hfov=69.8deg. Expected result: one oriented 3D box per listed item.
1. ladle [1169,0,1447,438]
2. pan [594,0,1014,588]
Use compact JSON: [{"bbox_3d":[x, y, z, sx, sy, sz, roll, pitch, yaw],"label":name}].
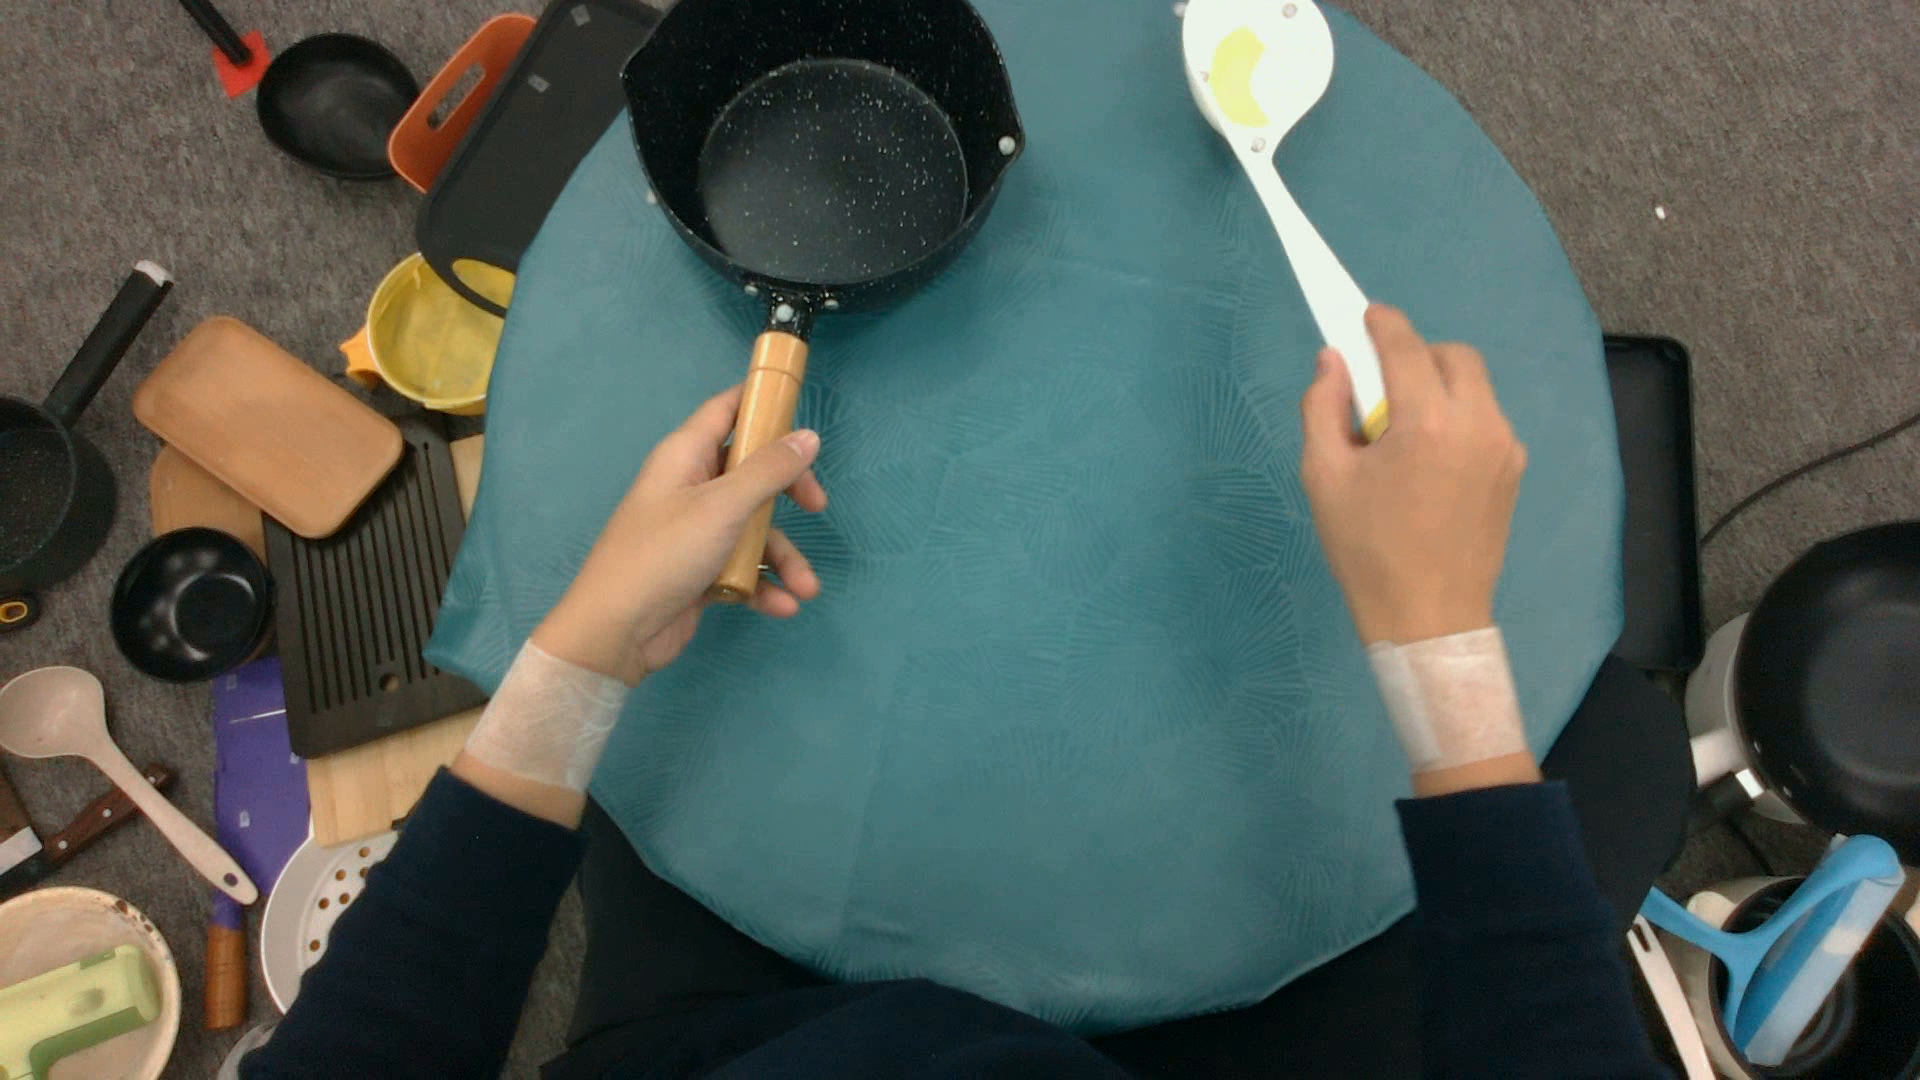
[{"bbox_3d":[0.165,-0.176,0.644,0.090,0.069,0.294,10,45,-27],"label":"ladle"},{"bbox_3d":[-0.086,-0.136,0.681,0.207,0.108,0.343,8,77,-2],"label":"pan"}]
